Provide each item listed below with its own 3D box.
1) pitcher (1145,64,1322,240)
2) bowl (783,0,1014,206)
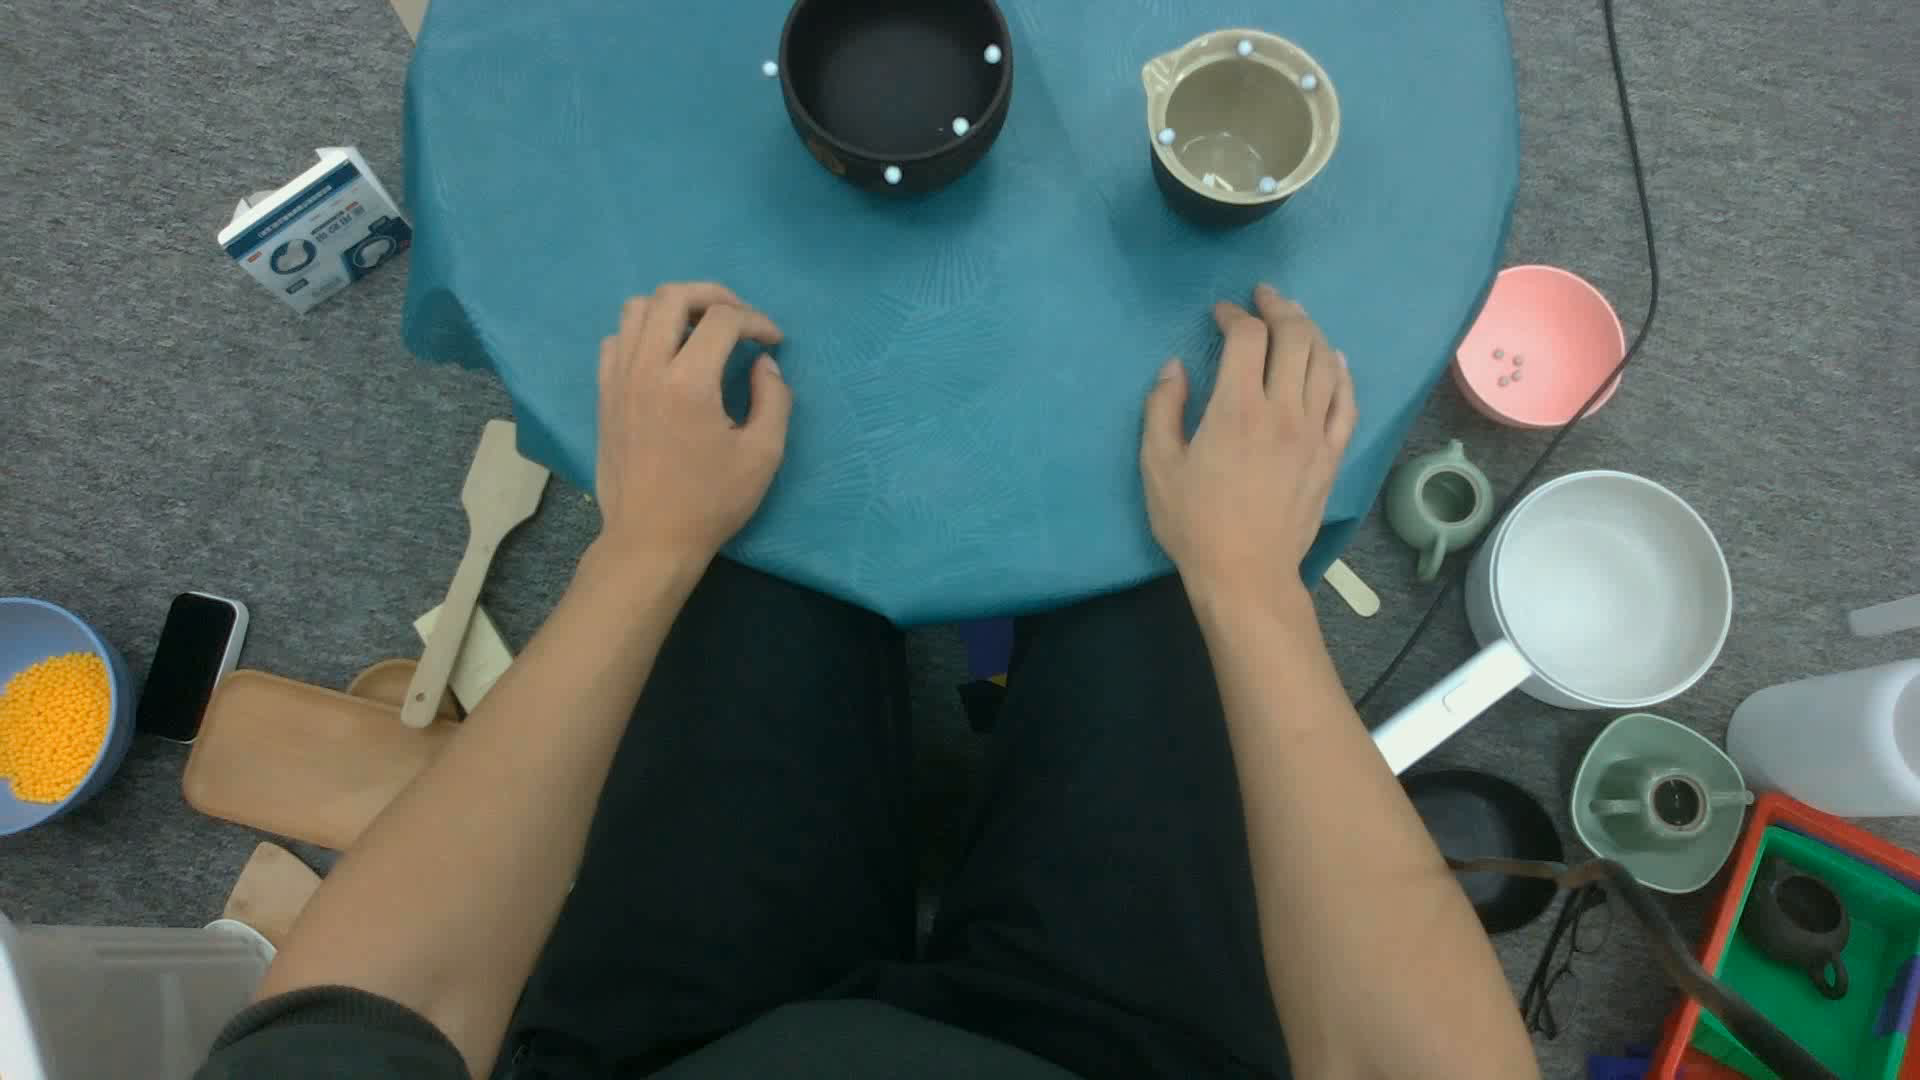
[{"bbox_3d":[0.134,-0.199,0.716,0.096,0.071,0.084,35,82,7],"label":"pitcher"},{"bbox_3d":[-0.031,-0.229,0.725,0.118,0.069,0.118,0,76,-1],"label":"bowl"}]
